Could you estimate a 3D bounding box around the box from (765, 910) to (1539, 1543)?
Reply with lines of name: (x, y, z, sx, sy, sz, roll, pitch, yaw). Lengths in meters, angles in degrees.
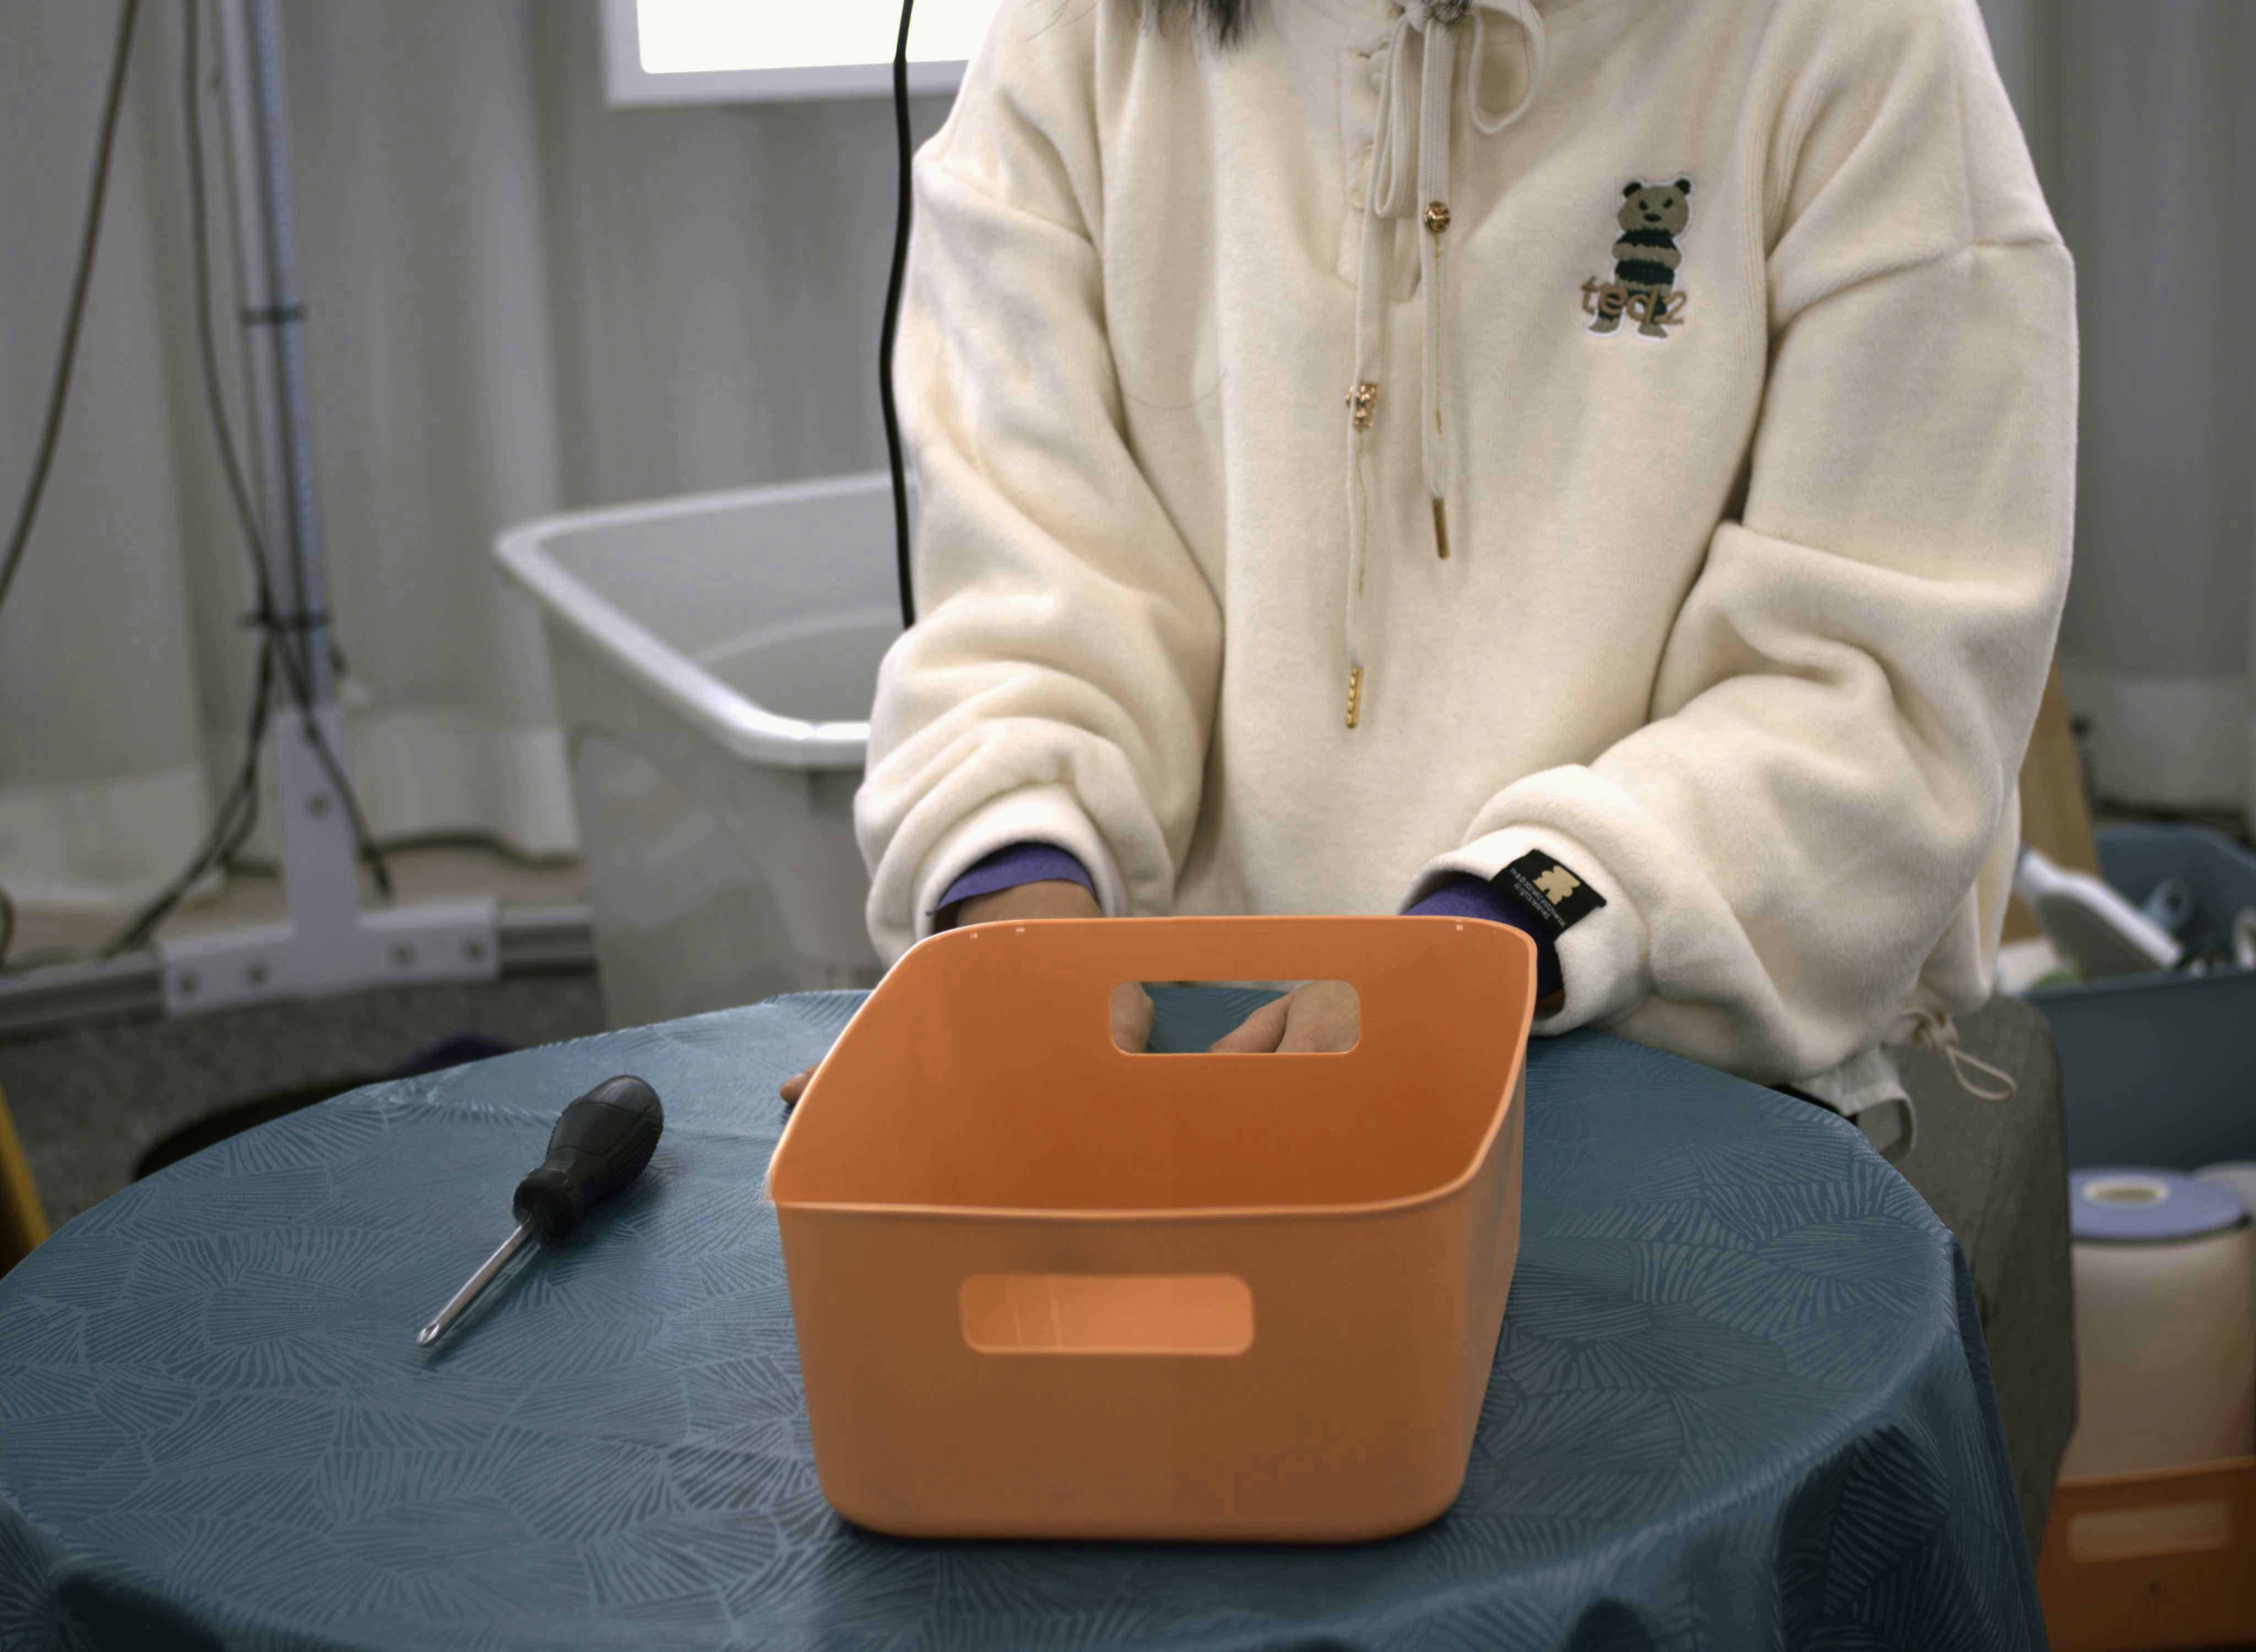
box: (0.016, 0.109, 1.530, 0.199, 0.102, 0.275, -1, 15, 9)

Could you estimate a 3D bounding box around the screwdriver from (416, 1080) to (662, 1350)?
screwdriver: (-0.186, 0.122, 1.685, 0.031, 0.031, 0.197, 2, 19, 17)
